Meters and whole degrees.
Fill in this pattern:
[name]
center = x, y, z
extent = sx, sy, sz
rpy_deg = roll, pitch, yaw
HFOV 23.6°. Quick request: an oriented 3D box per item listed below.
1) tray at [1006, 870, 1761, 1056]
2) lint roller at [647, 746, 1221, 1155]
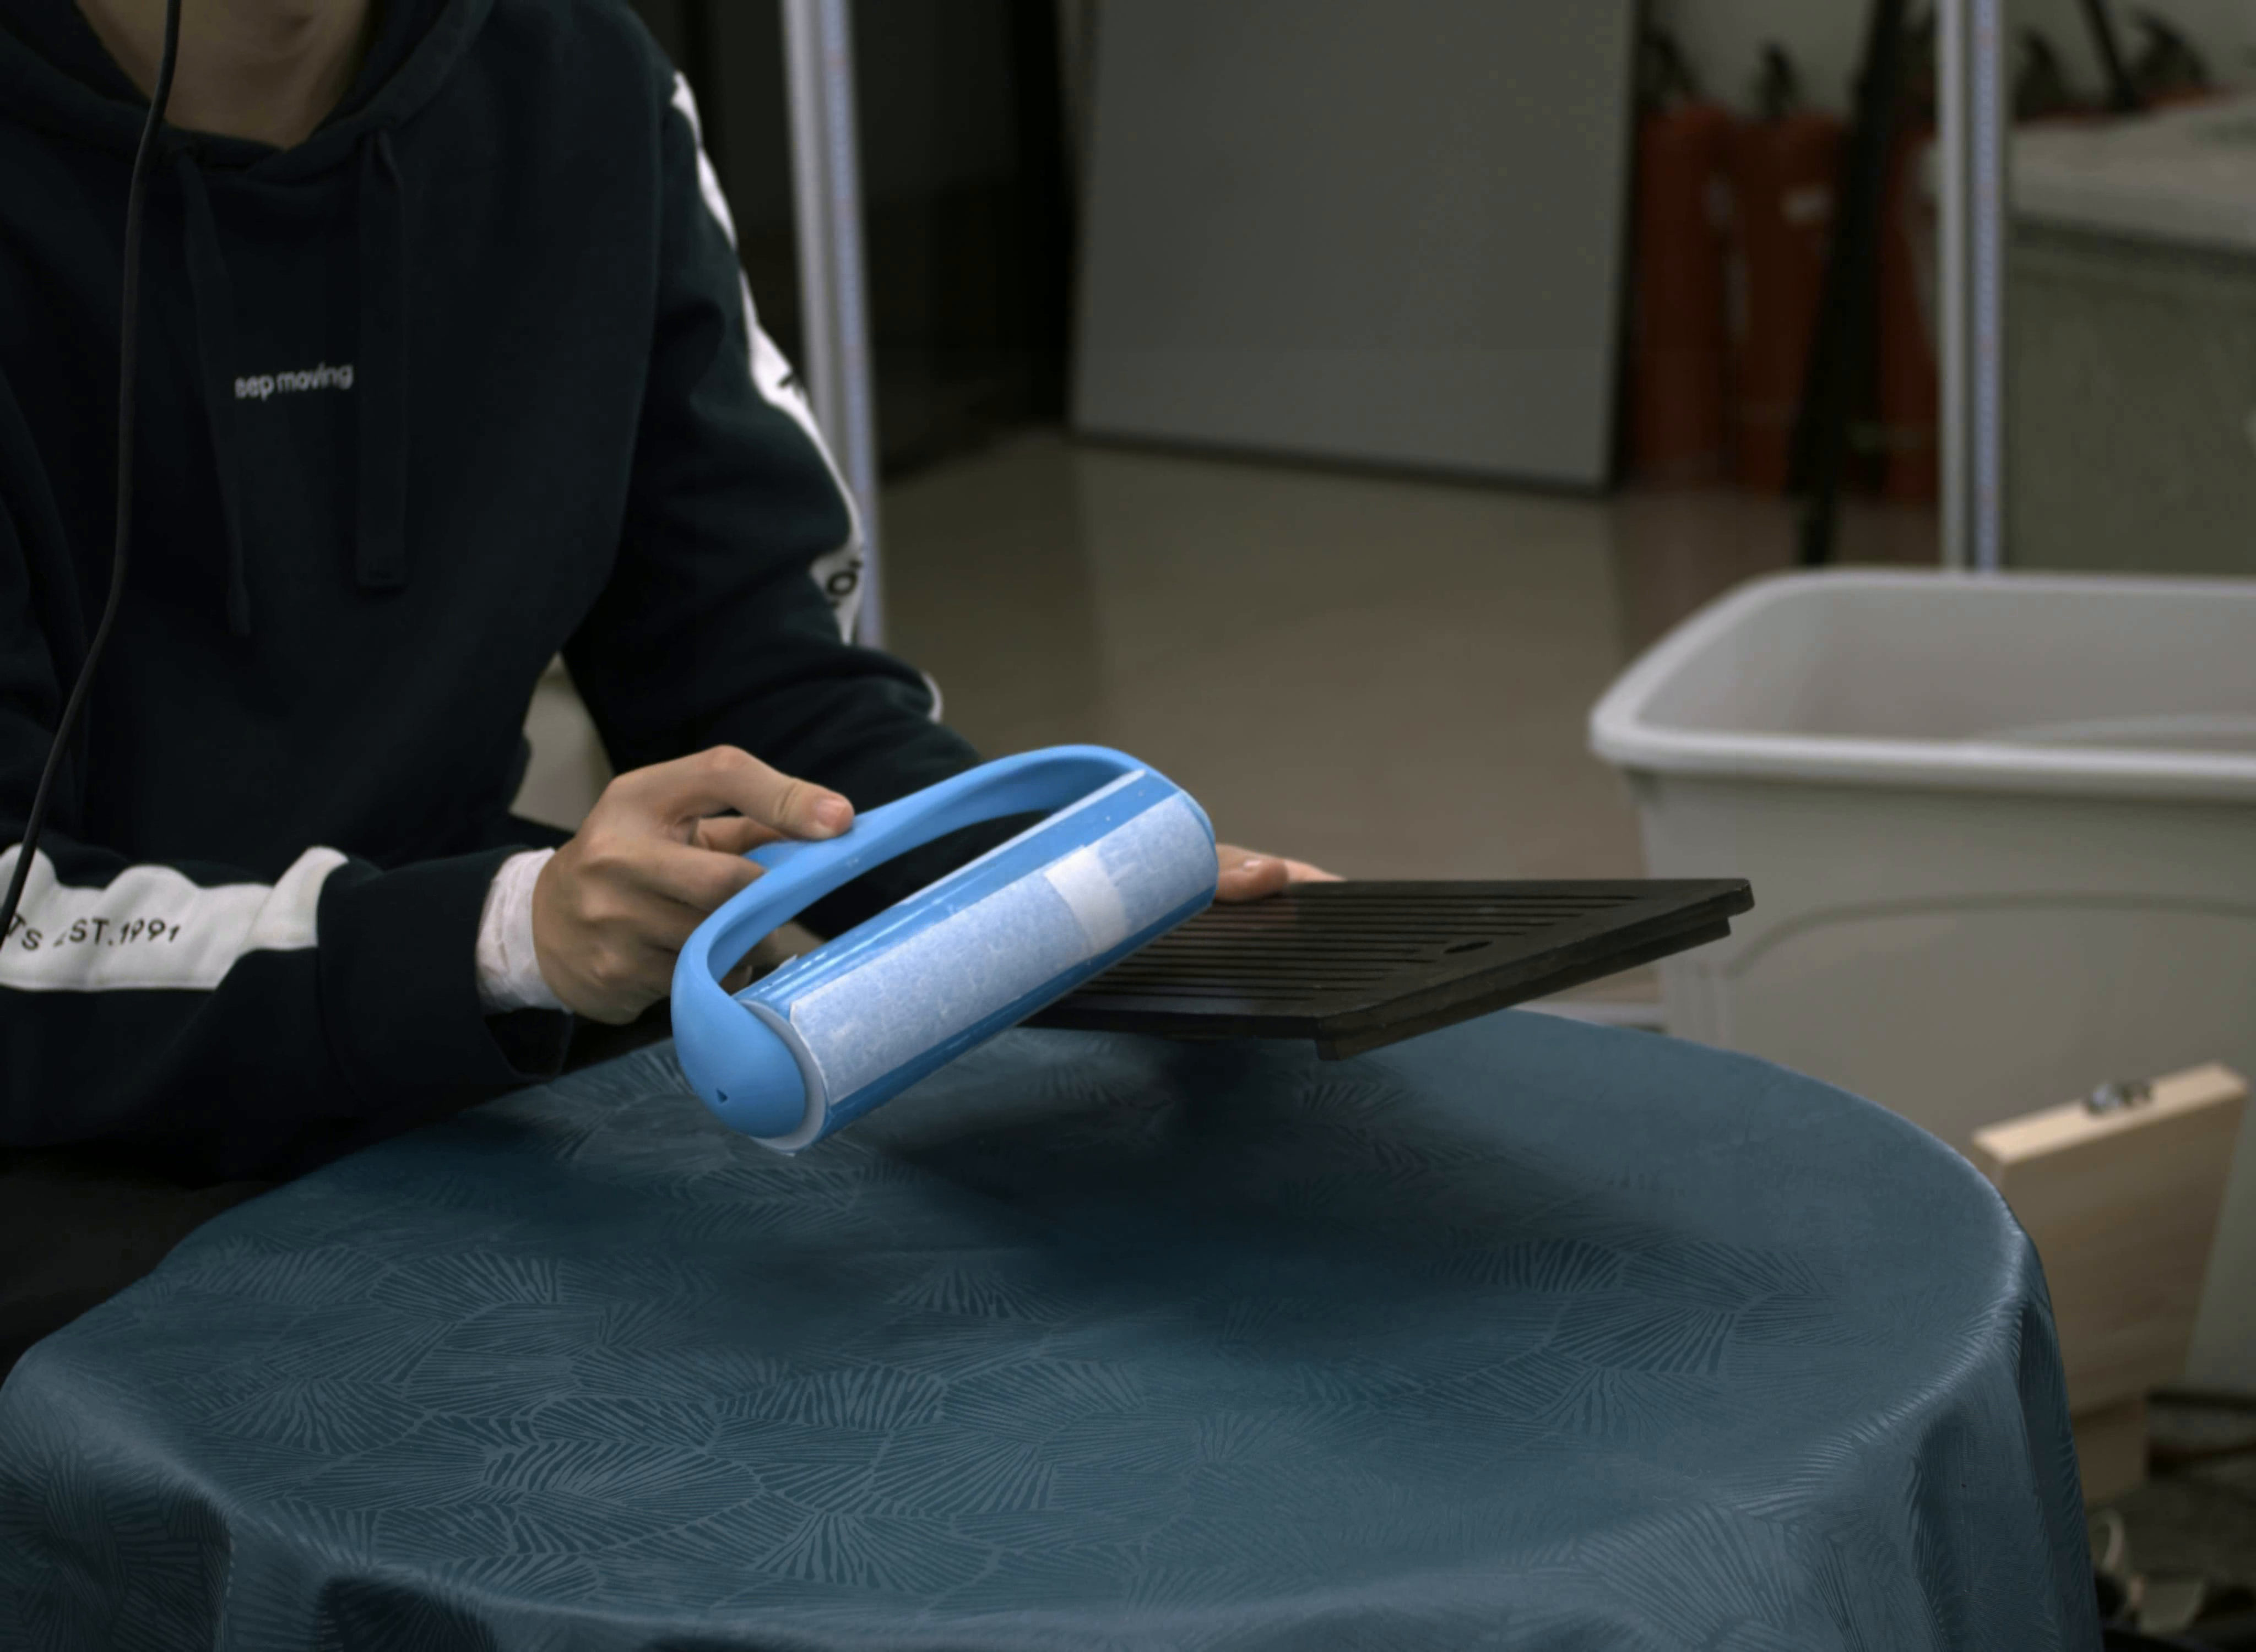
[tray]
center = 0.055, 0.045, 1.757
extent = 0.166, 0.019, 0.309
rpy_deg = -16, 7, -30
[lint roller]
center = -0.095, 0.034, 1.751
extent = 0.181, 0.068, 0.225
rpy_deg = 7, 28, 39
